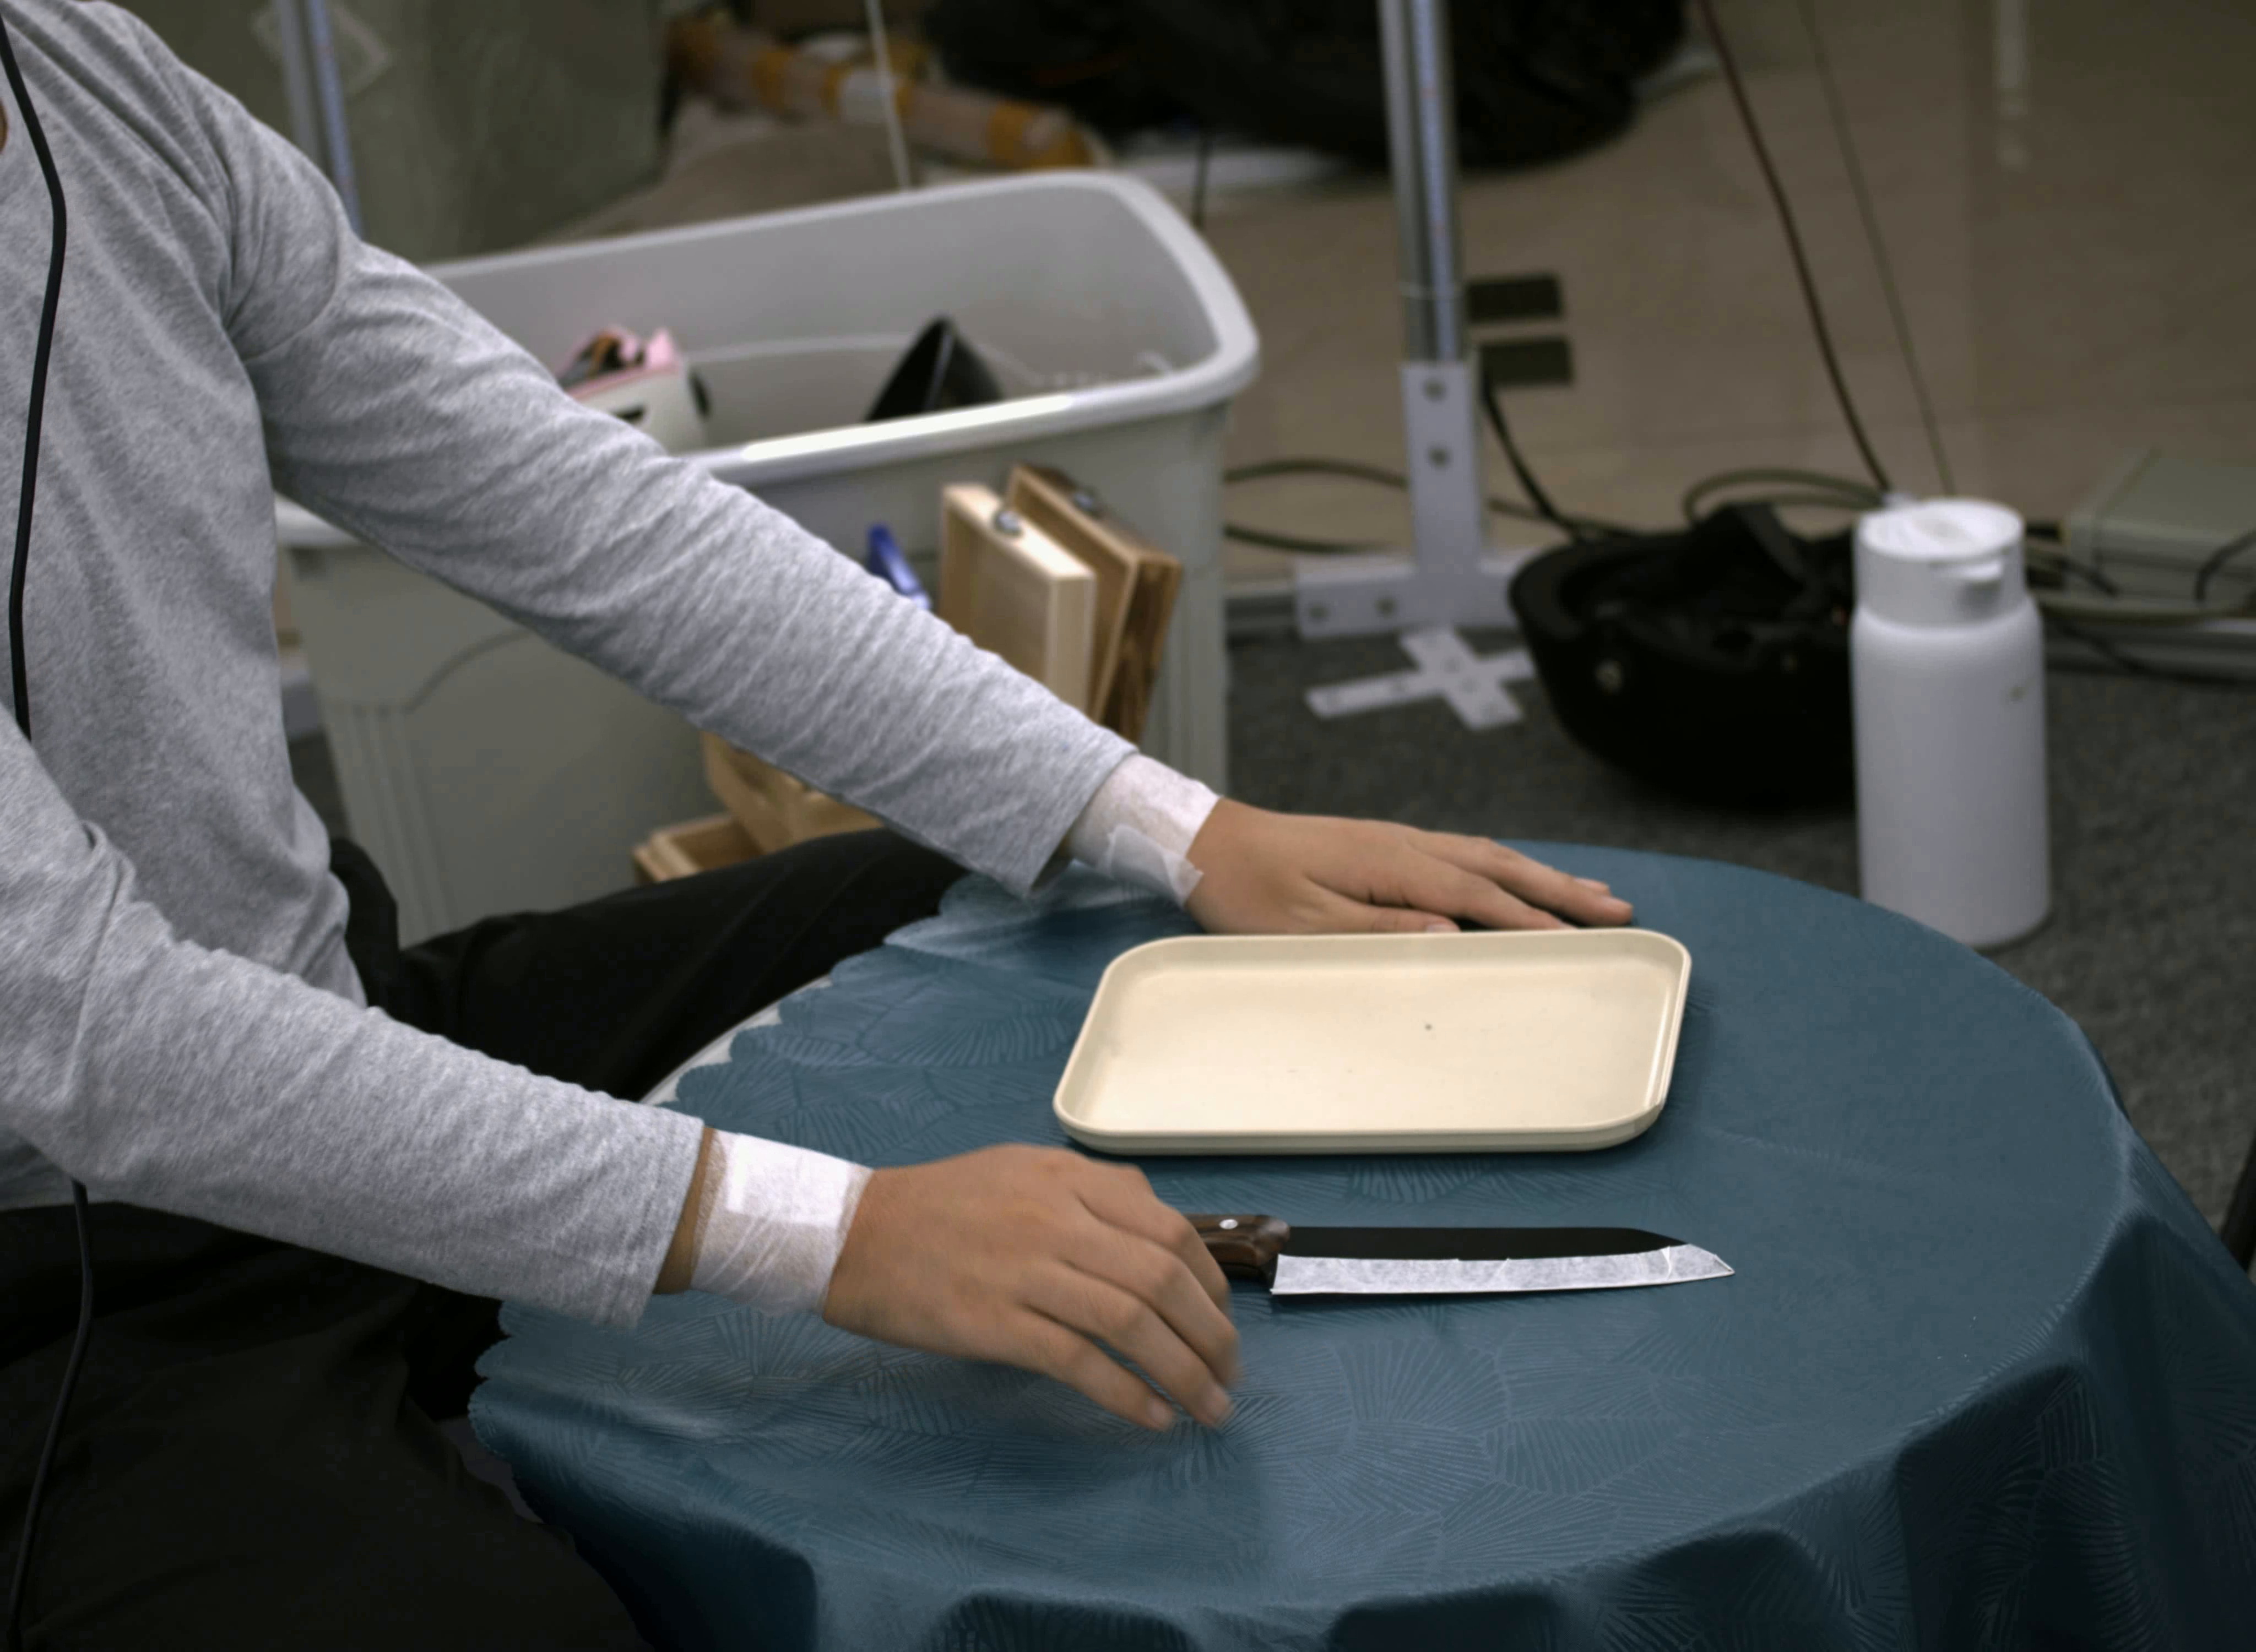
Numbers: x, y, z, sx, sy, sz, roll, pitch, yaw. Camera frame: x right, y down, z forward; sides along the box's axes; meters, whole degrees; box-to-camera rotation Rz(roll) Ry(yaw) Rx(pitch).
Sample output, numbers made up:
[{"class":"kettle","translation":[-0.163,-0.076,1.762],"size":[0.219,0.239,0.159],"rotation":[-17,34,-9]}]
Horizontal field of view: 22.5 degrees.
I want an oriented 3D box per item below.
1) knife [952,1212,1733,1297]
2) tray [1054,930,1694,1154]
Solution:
[{"class":"knife","translation":[0.076,0.158,2.075],"size":[0.288,0.020,0.049],"rotation":[0,31,9]},{"class":"tray","translation":[0.098,0.086,2.222],"size":[0.239,0.018,0.169],"rotation":[-1,25,12]}]
